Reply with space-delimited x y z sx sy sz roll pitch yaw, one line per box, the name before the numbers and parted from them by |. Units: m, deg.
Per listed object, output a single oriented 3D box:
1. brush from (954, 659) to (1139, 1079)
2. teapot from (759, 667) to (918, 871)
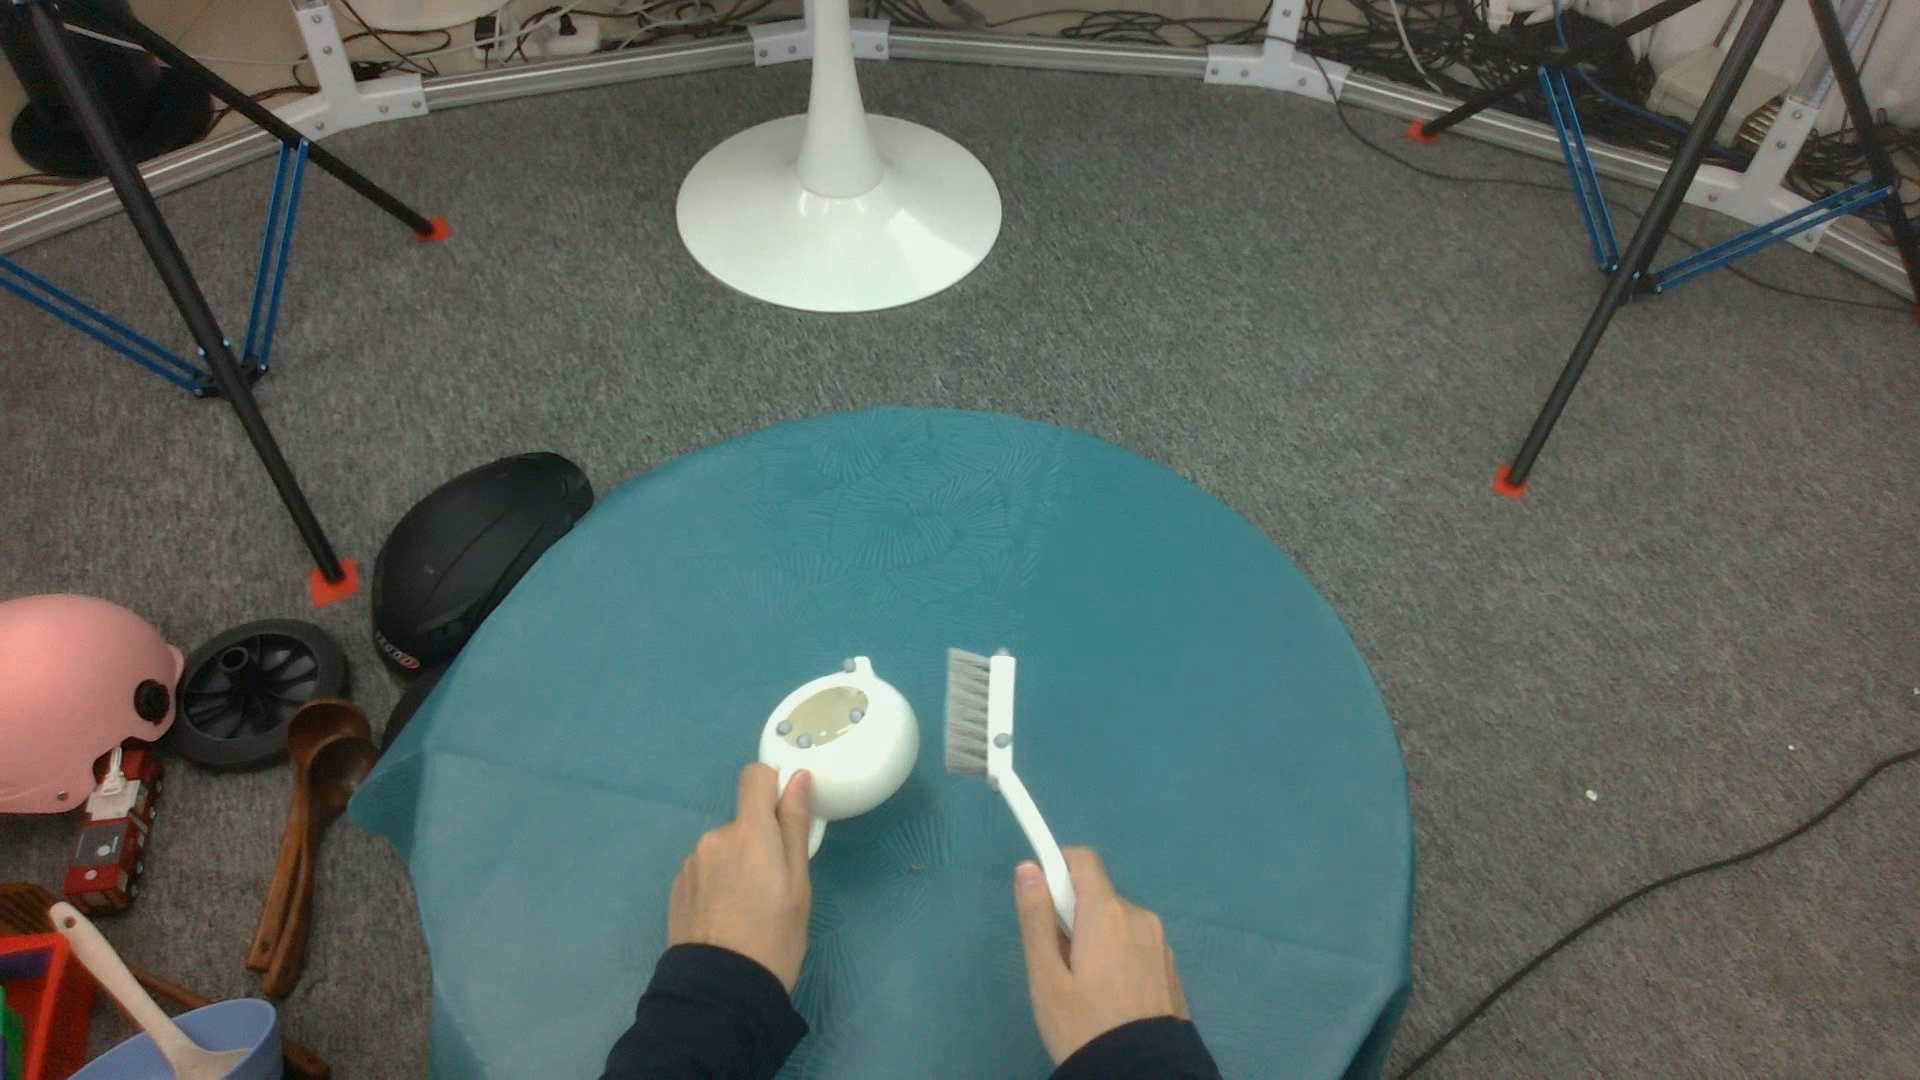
brush | 0.037 0.175 0.728 0.050 0.034 0.244 -13 66 -8
teapot | -0.074 0.132 0.791 0.093 0.056 0.128 -1 37 23
